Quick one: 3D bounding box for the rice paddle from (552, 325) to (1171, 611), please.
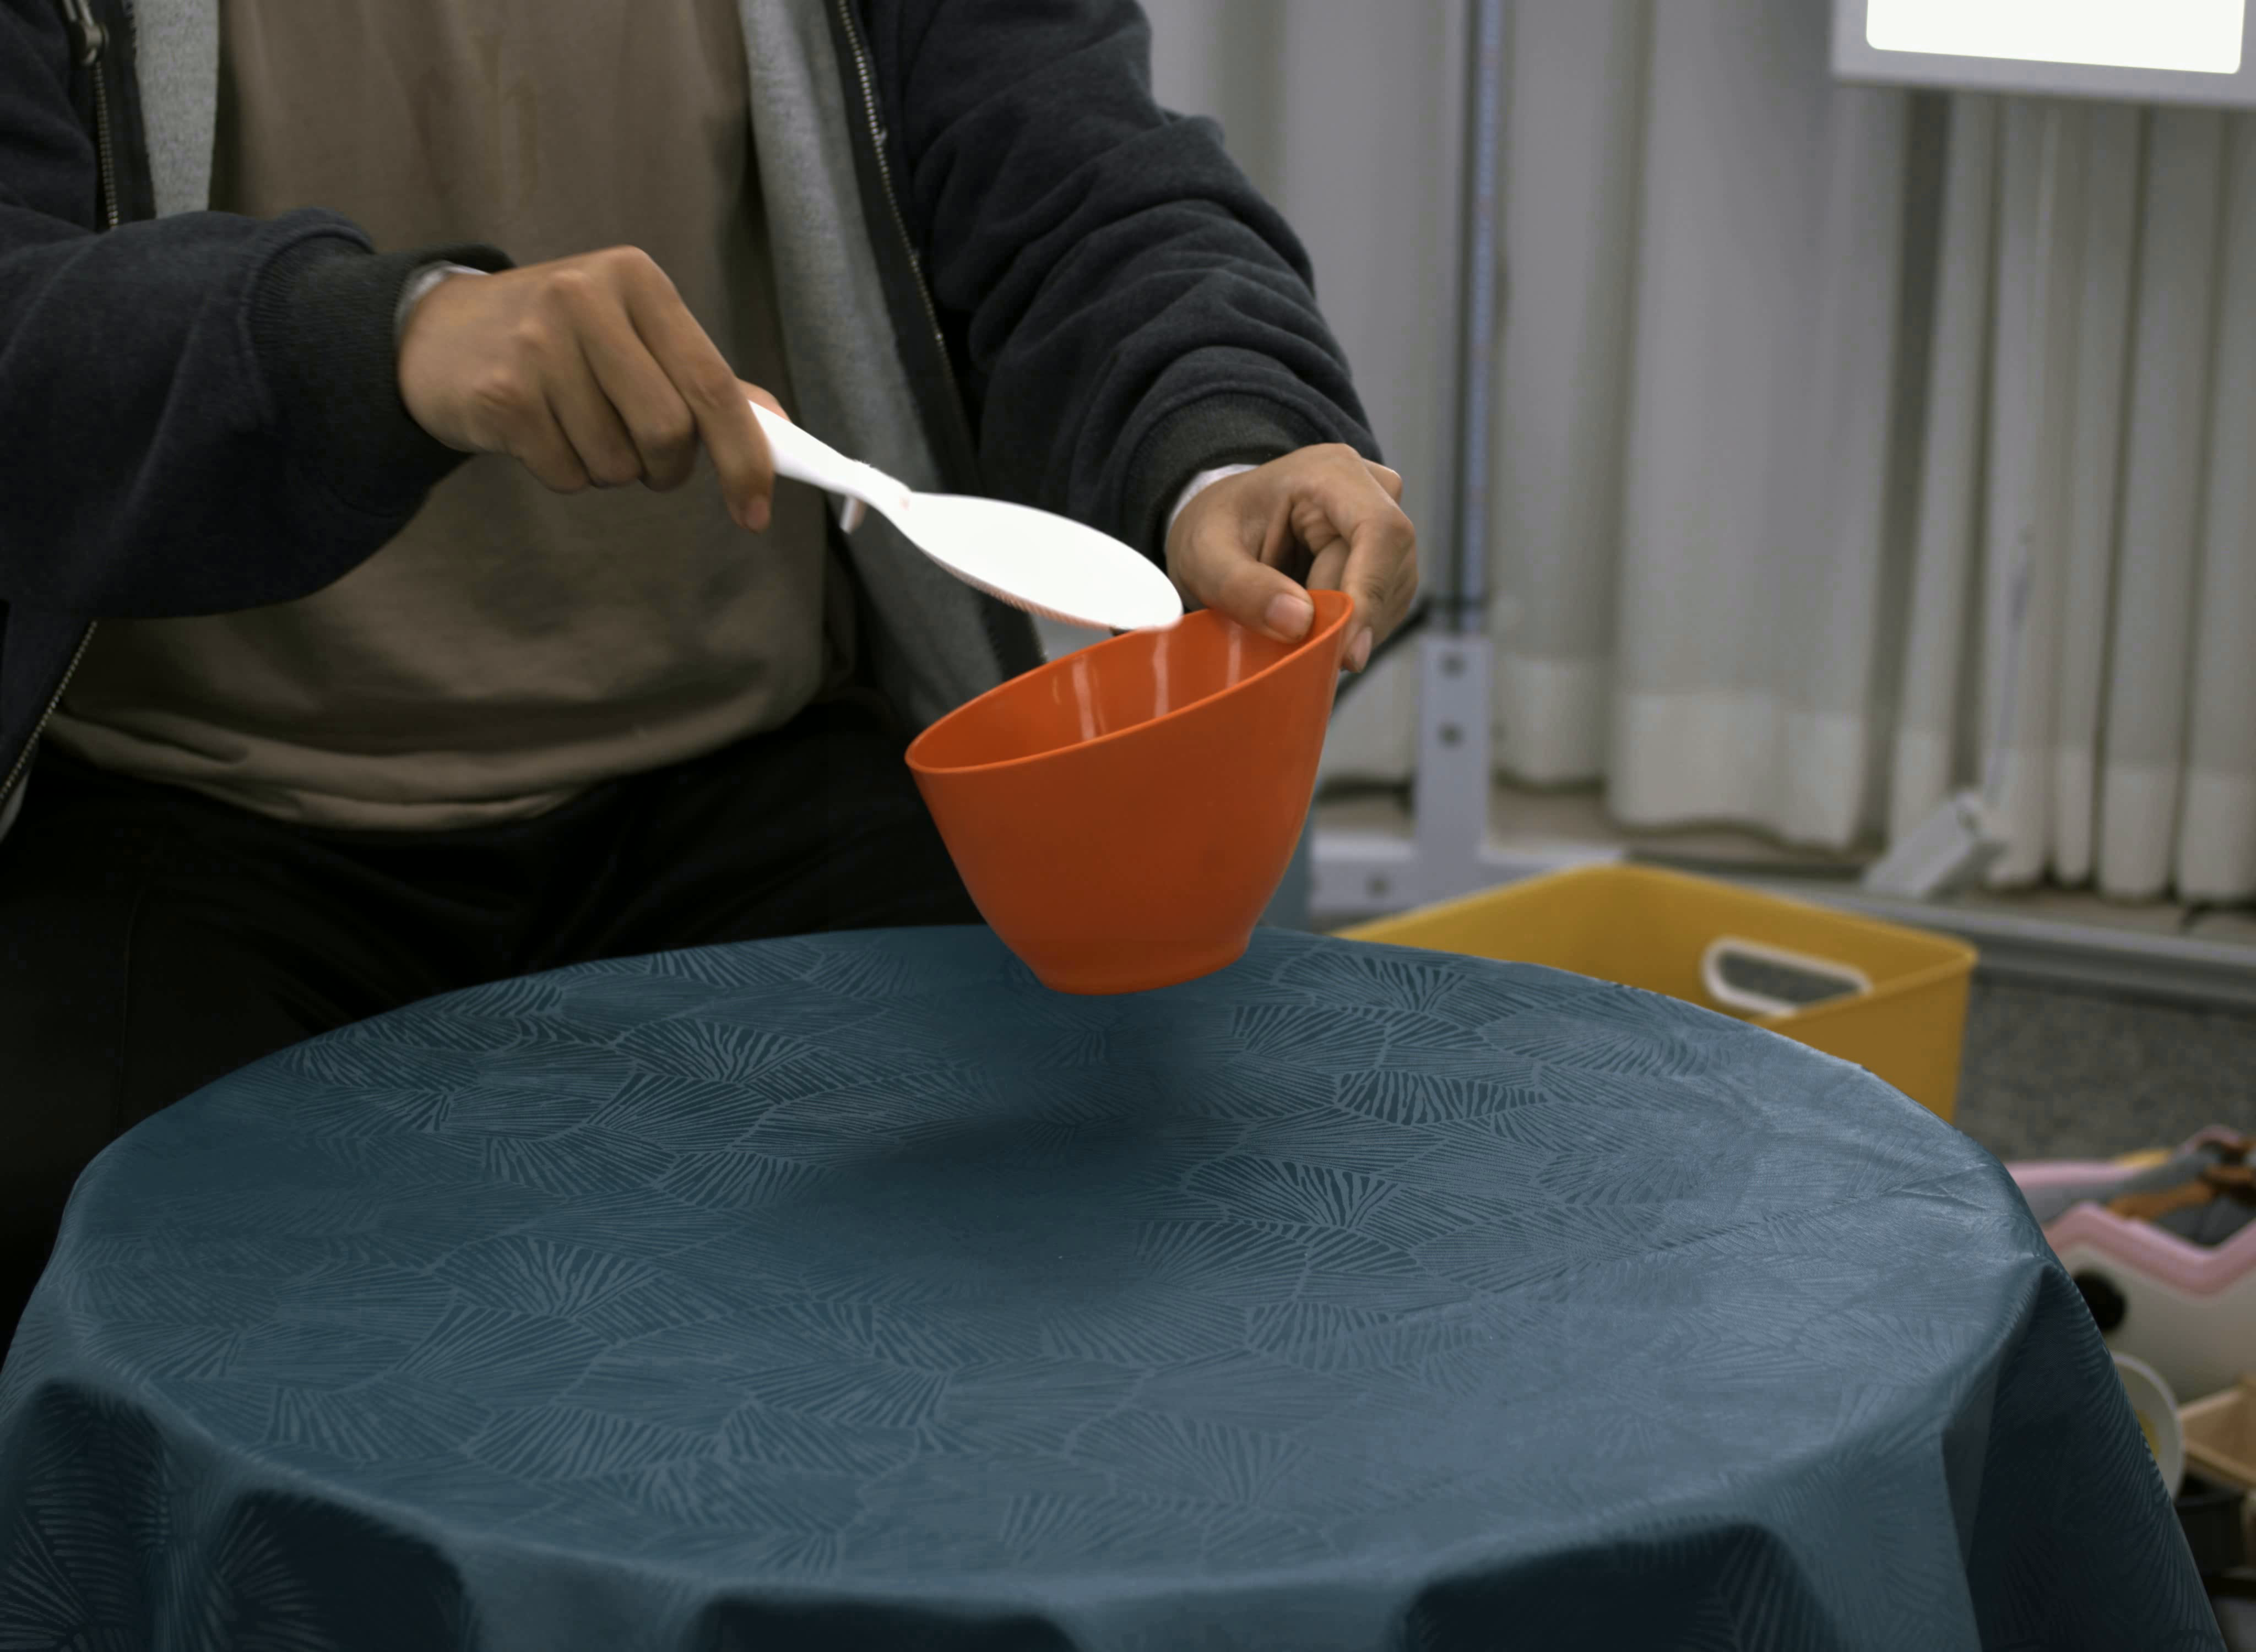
[{"bbox_3d":[-0.081,-0.109,1.646,0.204,0.029,0.068,21,27,7],"label":"rice paddle"}]

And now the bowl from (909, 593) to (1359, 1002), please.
[{"bbox_3d":[0.009,-0.005,1.648,0.147,0.105,0.147,-10,15,3],"label":"bowl"}]
